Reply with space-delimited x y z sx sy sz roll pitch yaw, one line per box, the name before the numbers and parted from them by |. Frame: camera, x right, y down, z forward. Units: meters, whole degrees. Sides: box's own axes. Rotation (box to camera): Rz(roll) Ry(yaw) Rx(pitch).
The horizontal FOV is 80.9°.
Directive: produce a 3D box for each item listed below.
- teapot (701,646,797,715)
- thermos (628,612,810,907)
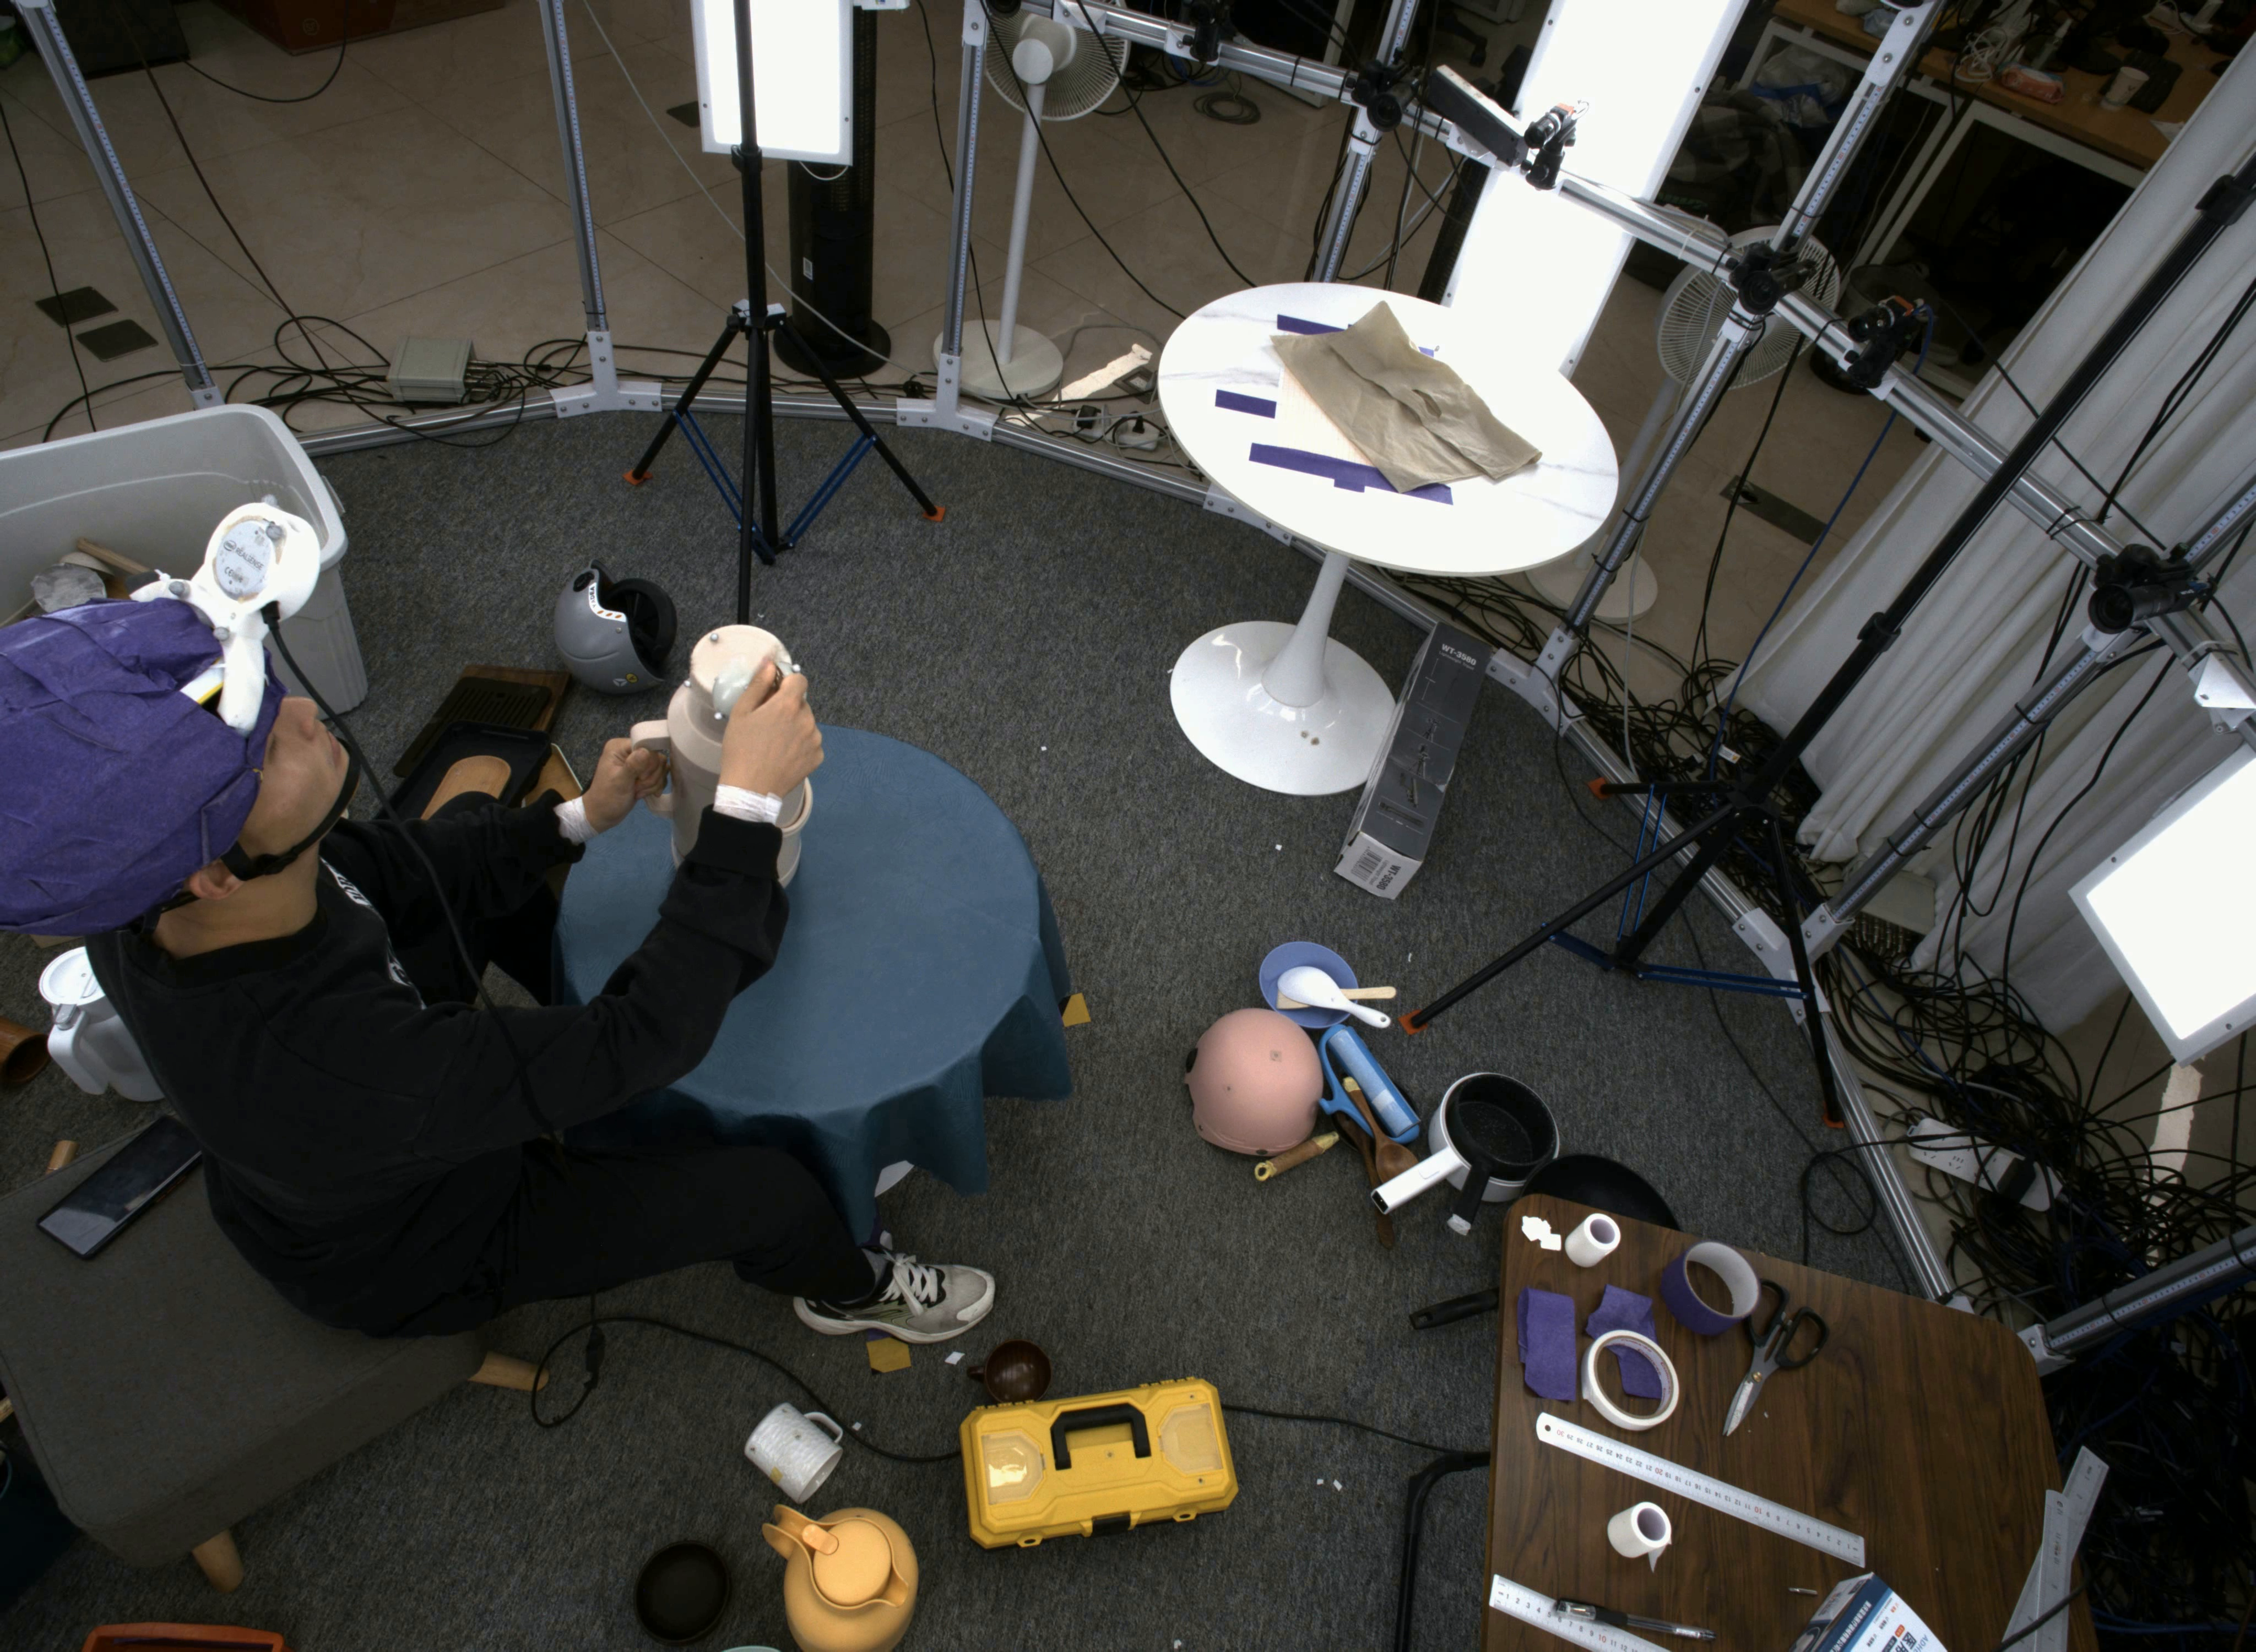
teapot | -0.362 -0.140 1.244 0.093 0.124 0.060 -9 97 -36
thermos | -0.471 -0.073 1.496 0.208 0.411 0.172 -9 62 -22
